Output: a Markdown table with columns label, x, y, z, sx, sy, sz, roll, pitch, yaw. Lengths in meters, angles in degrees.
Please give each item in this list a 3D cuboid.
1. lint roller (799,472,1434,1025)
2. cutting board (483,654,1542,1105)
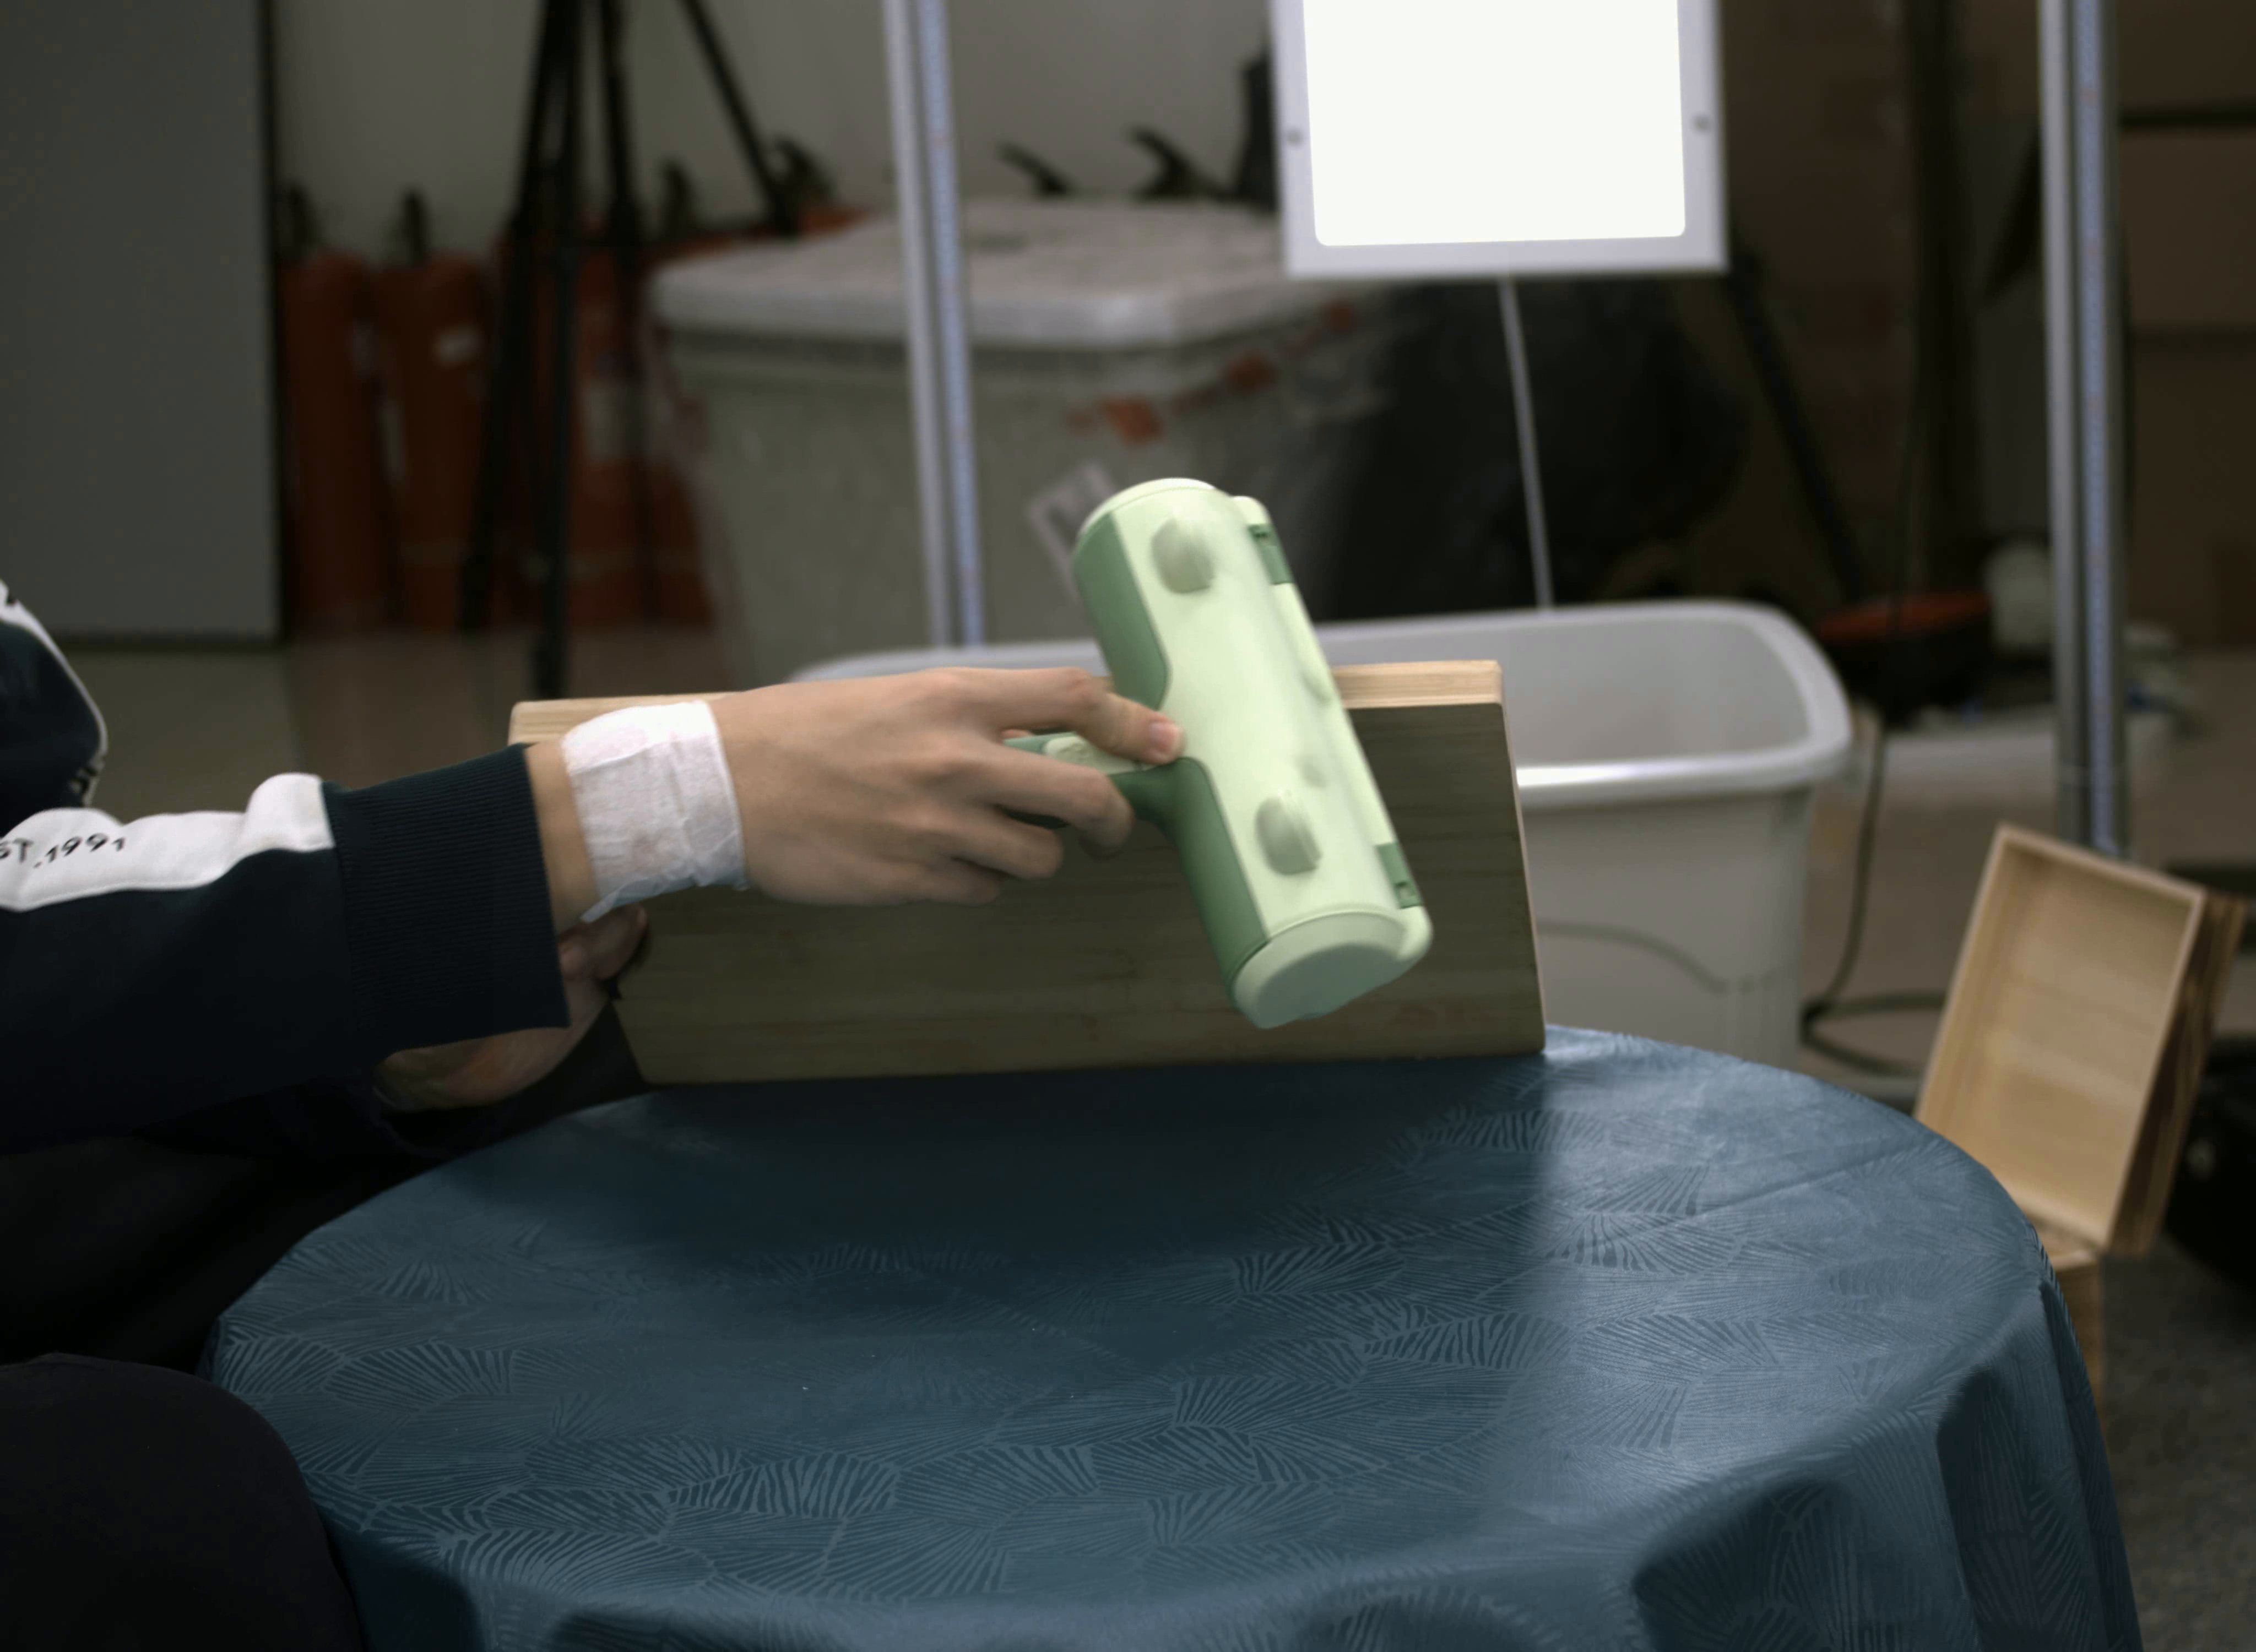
| label | x | y | z | sx | sy | sz | roll | pitch | yaw |
| --- | --- | --- | --- | --- | --- | --- | --- | --- | --- |
| lint roller | -0.013 | -0.027 | 1.767 | 0.180 | 0.083 | 0.199 | -6 | 54 | -18 |
| cutting board | -0.033 | 0.023 | 1.947 | 0.350 | 0.250 | 0.023 | -2 | 57 | 9 |
